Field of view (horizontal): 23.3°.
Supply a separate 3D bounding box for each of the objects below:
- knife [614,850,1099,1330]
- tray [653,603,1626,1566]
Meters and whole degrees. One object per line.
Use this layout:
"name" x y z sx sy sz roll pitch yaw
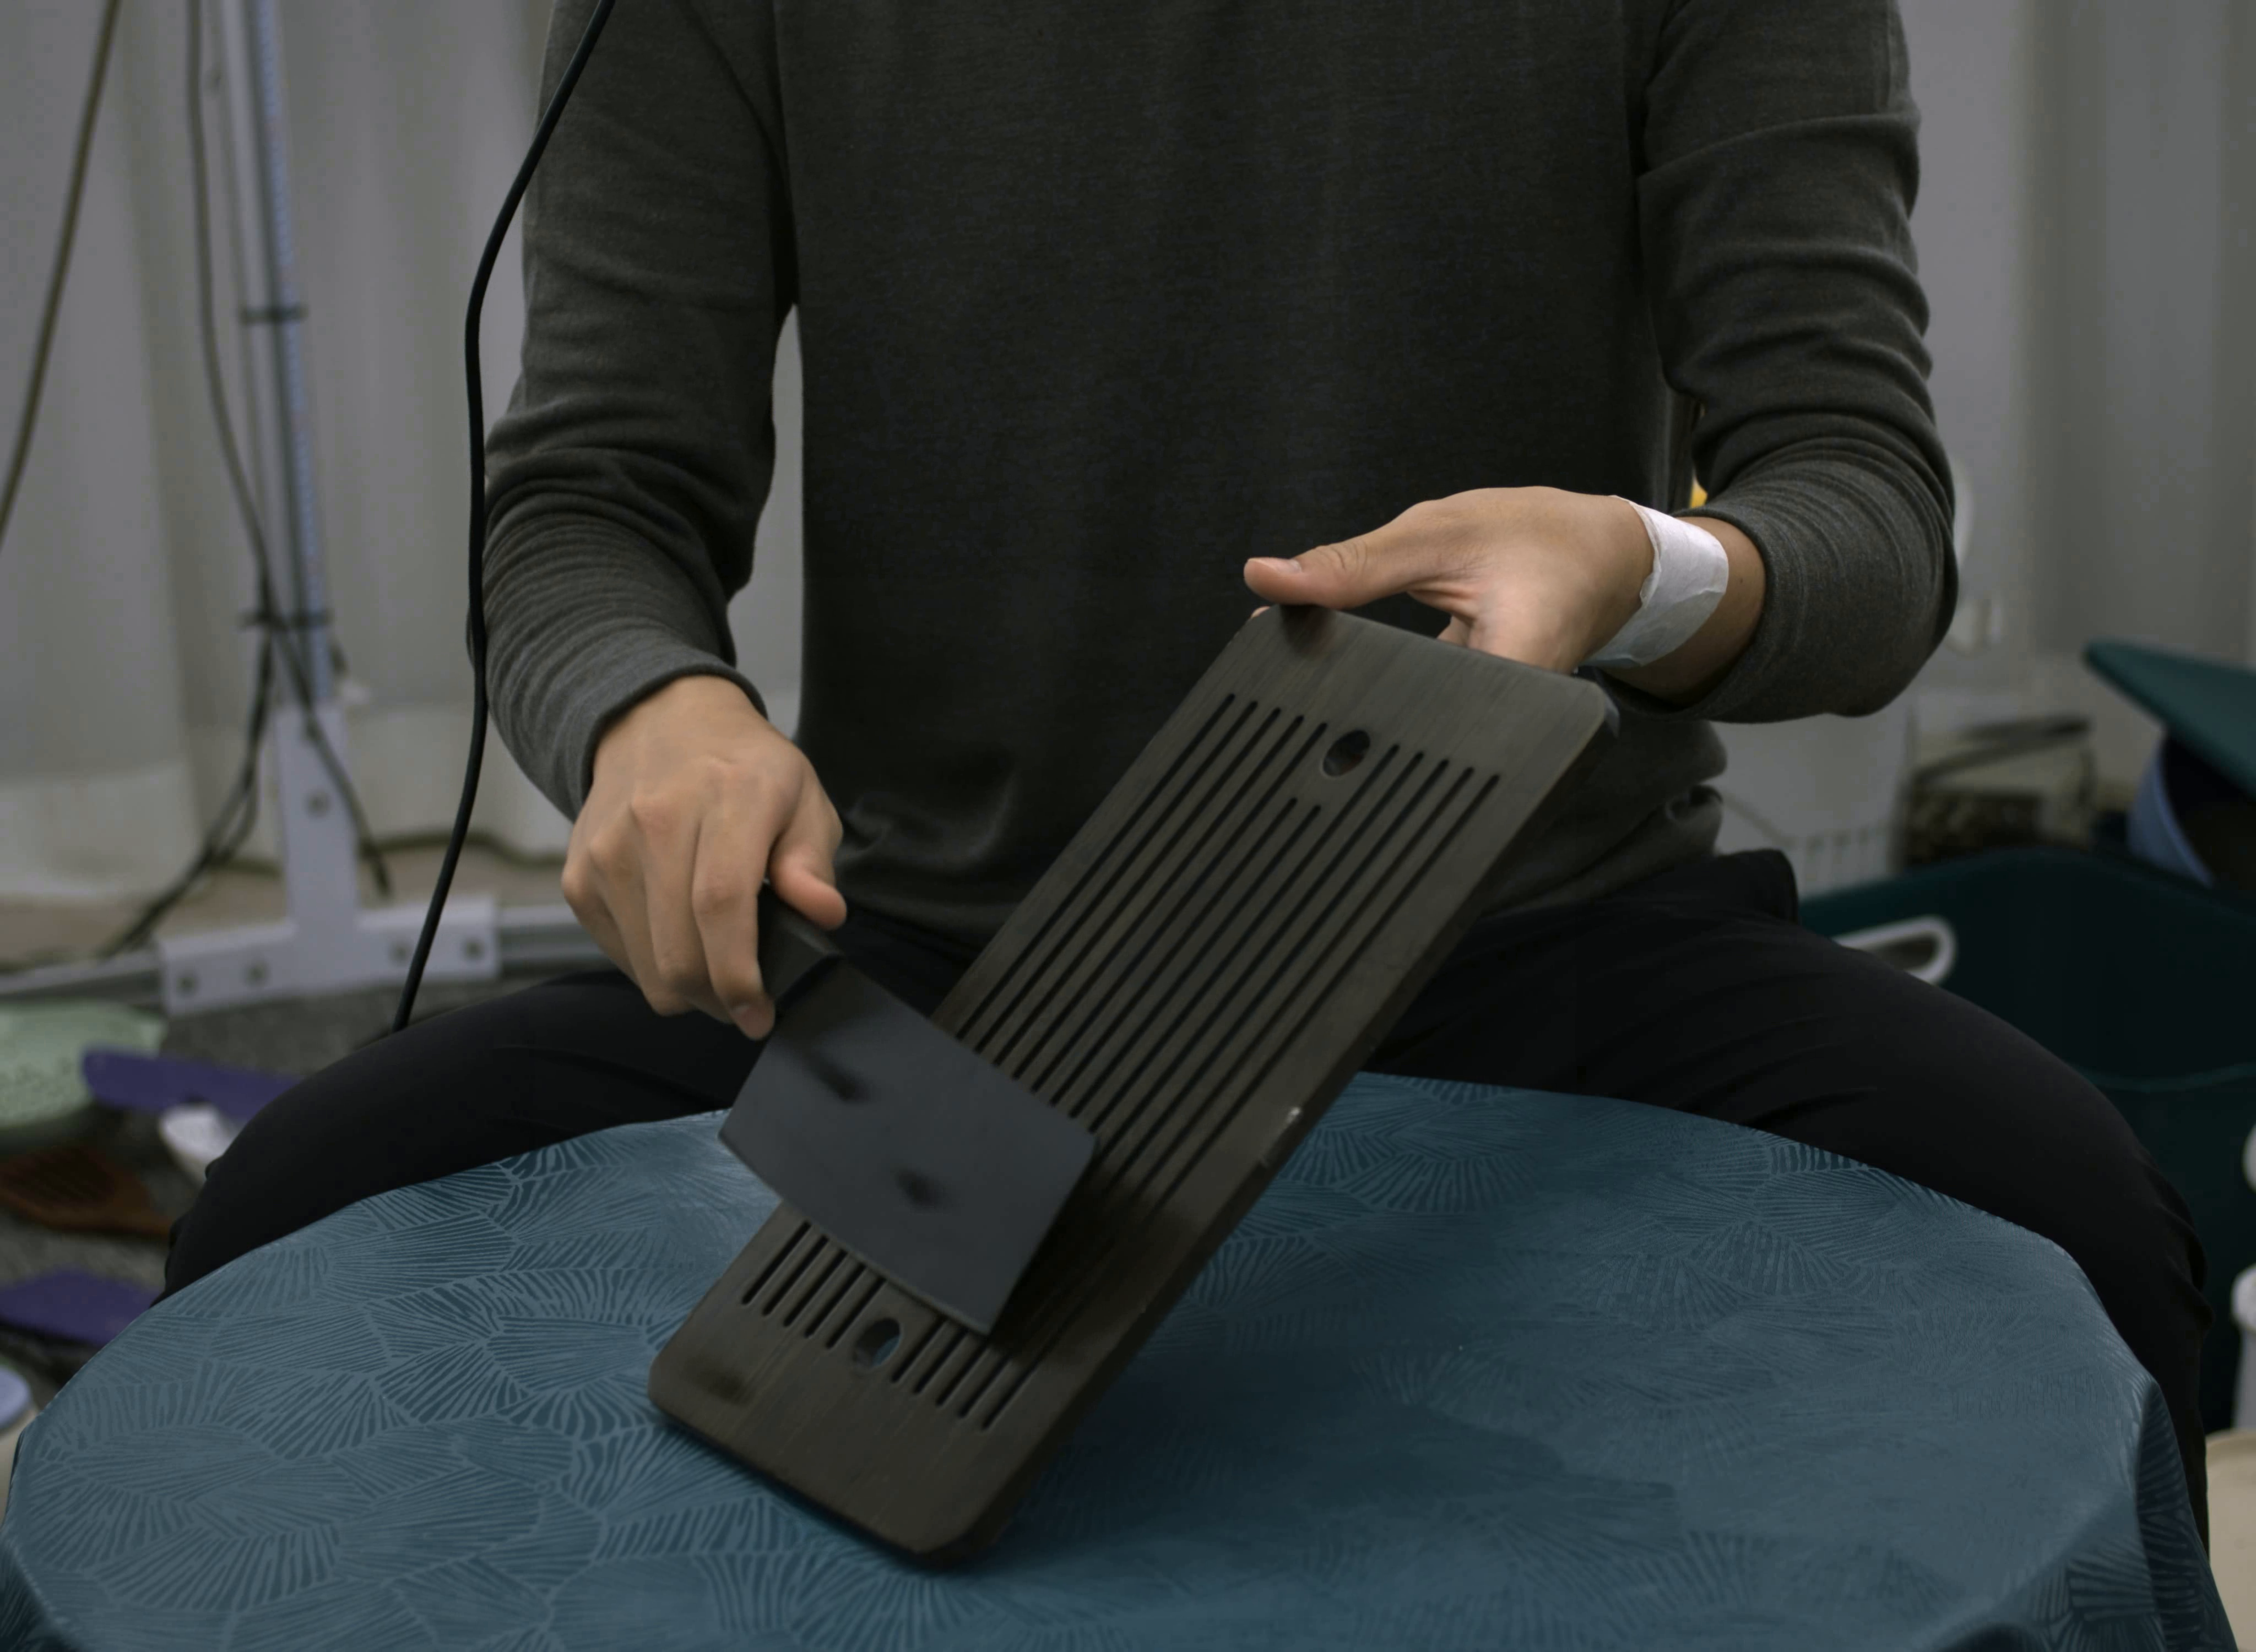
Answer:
"knife" -0.089 0.069 1.583 0.020 0.081 0.305 34 3 -31
"tray" 0.003 0.066 1.520 0.307 0.018 0.171 -50 32 -15
